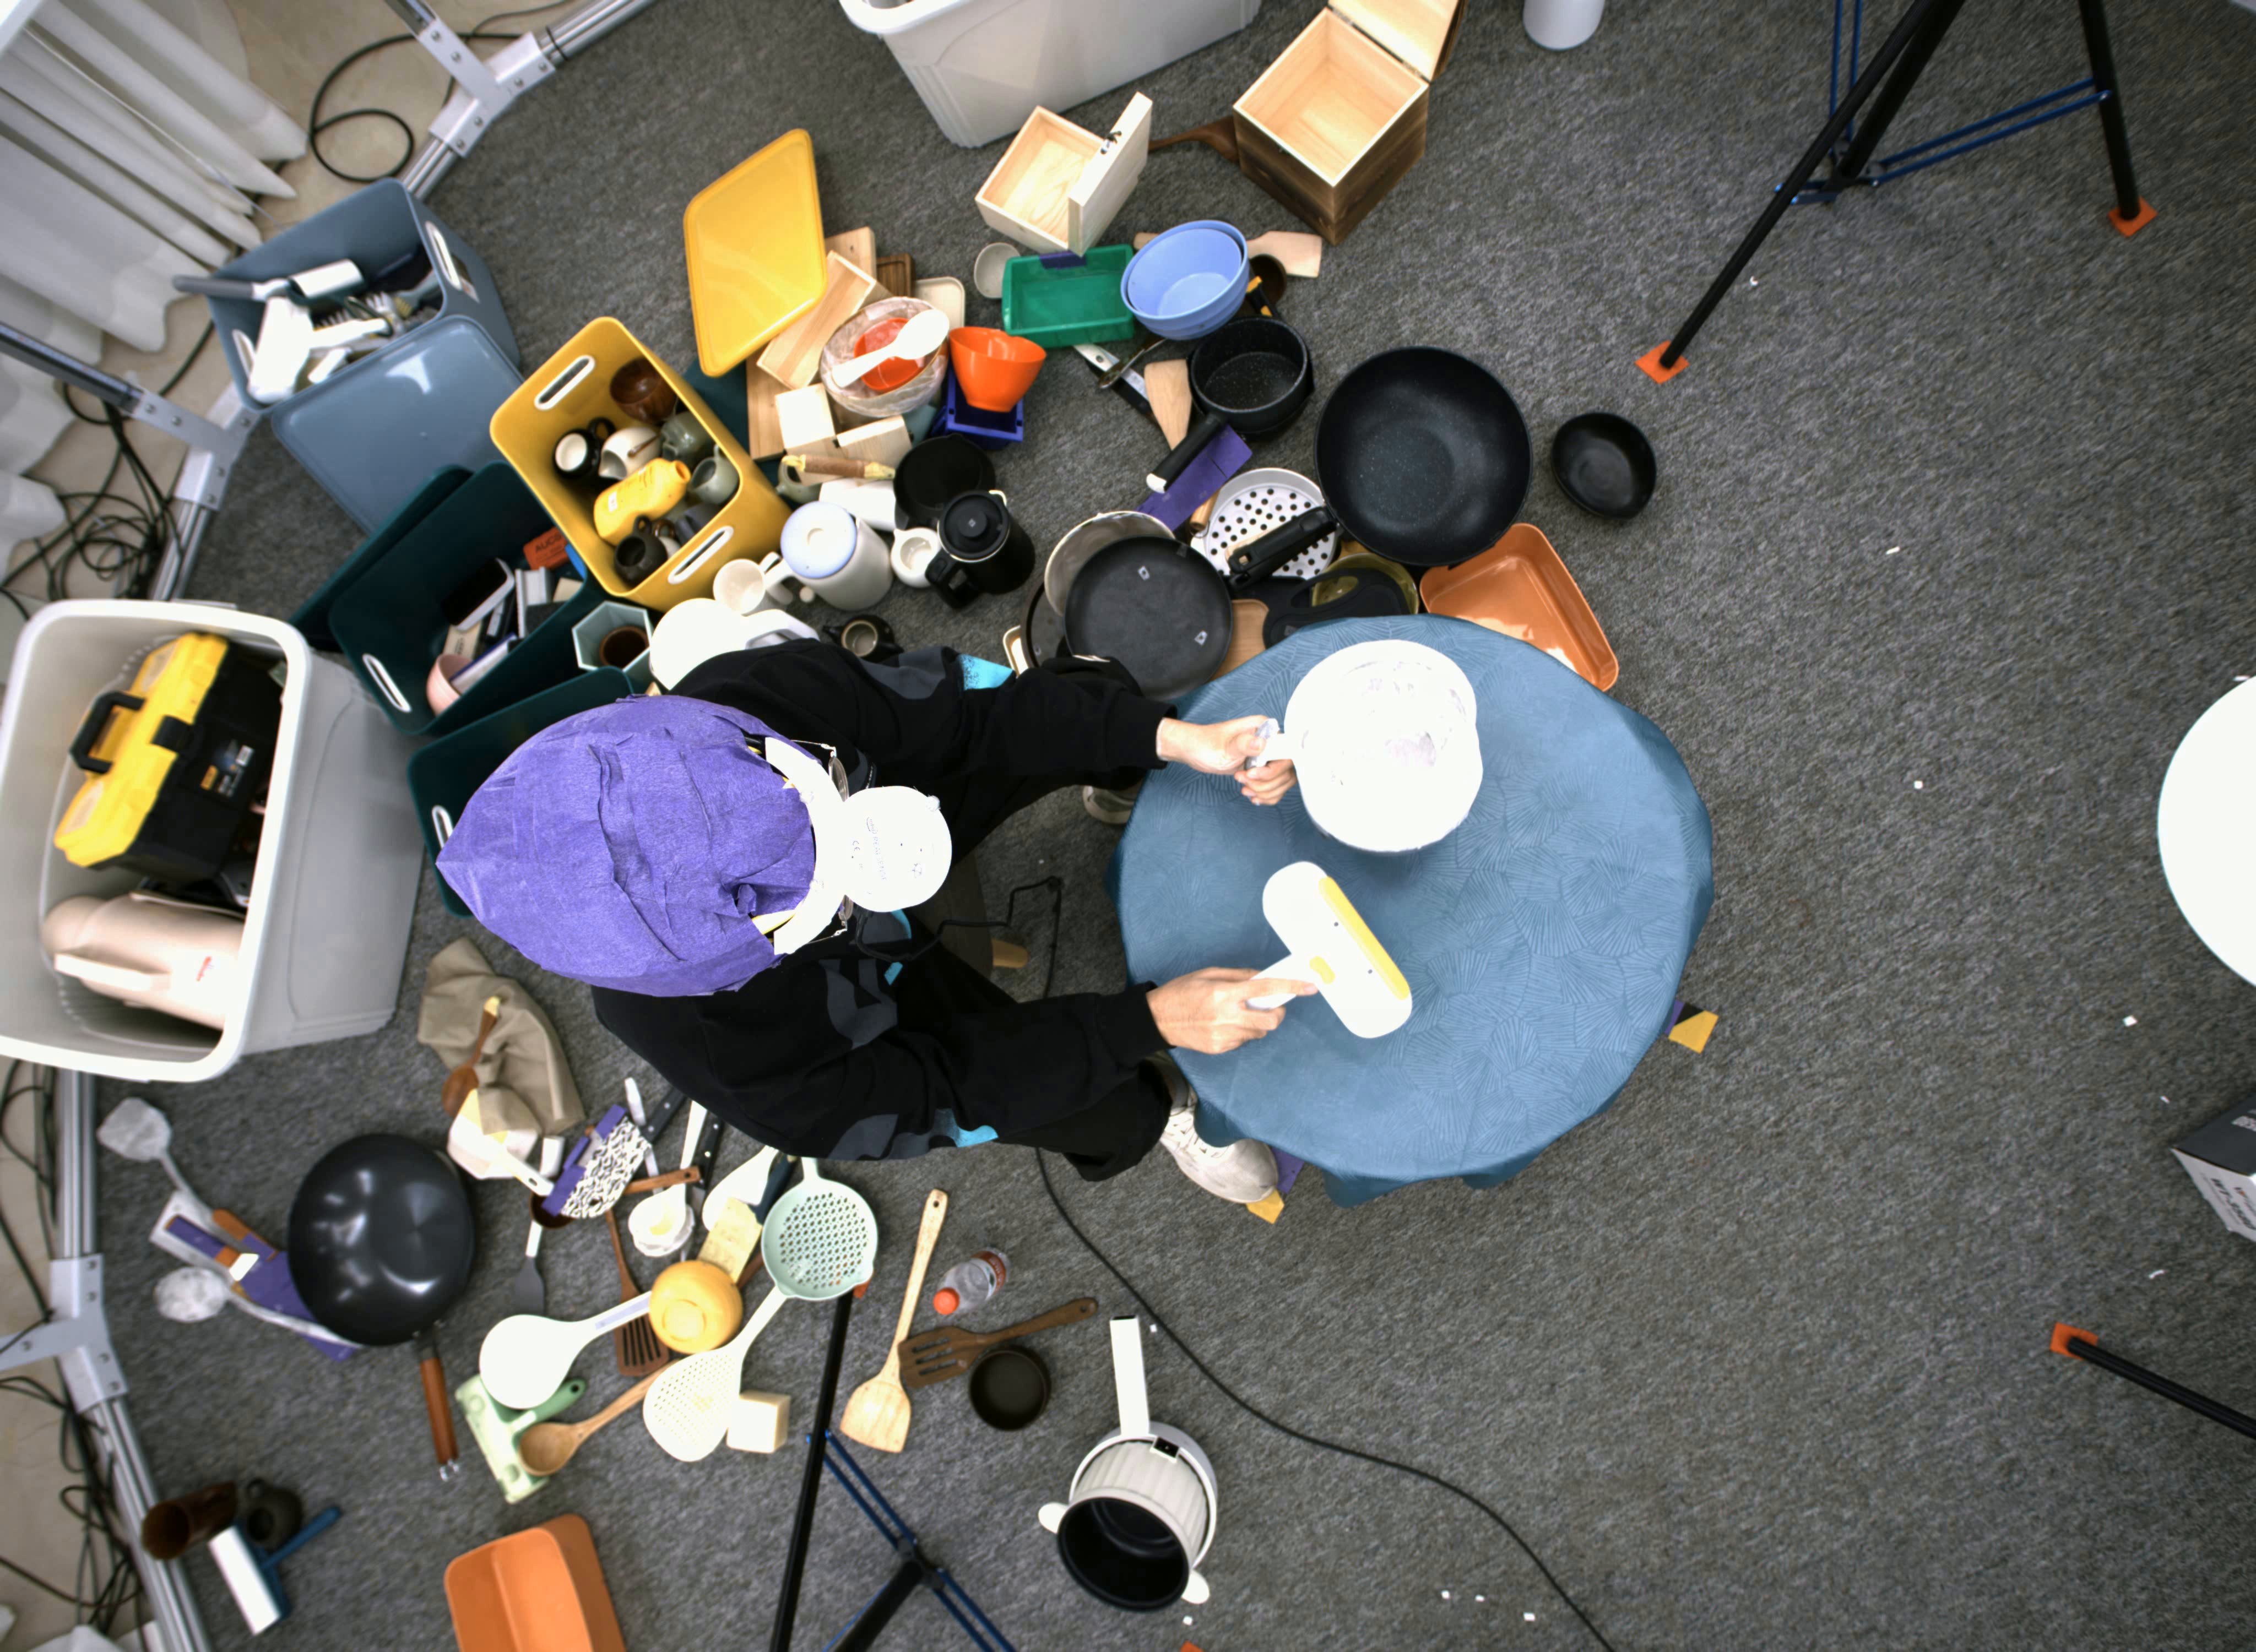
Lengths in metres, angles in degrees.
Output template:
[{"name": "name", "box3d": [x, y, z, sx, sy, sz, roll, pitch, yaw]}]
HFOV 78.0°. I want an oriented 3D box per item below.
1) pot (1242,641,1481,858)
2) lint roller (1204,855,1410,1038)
[{"name": "pot", "box3d": [0.221, -0.068, 1.326, 0.235, 0.139, 0.174, -4, 56, 14]}, {"name": "lint roller", "box3d": [0.156, 0.146, 1.369, 0.196, 0.072, 0.194, -36, 102, 34]}]
